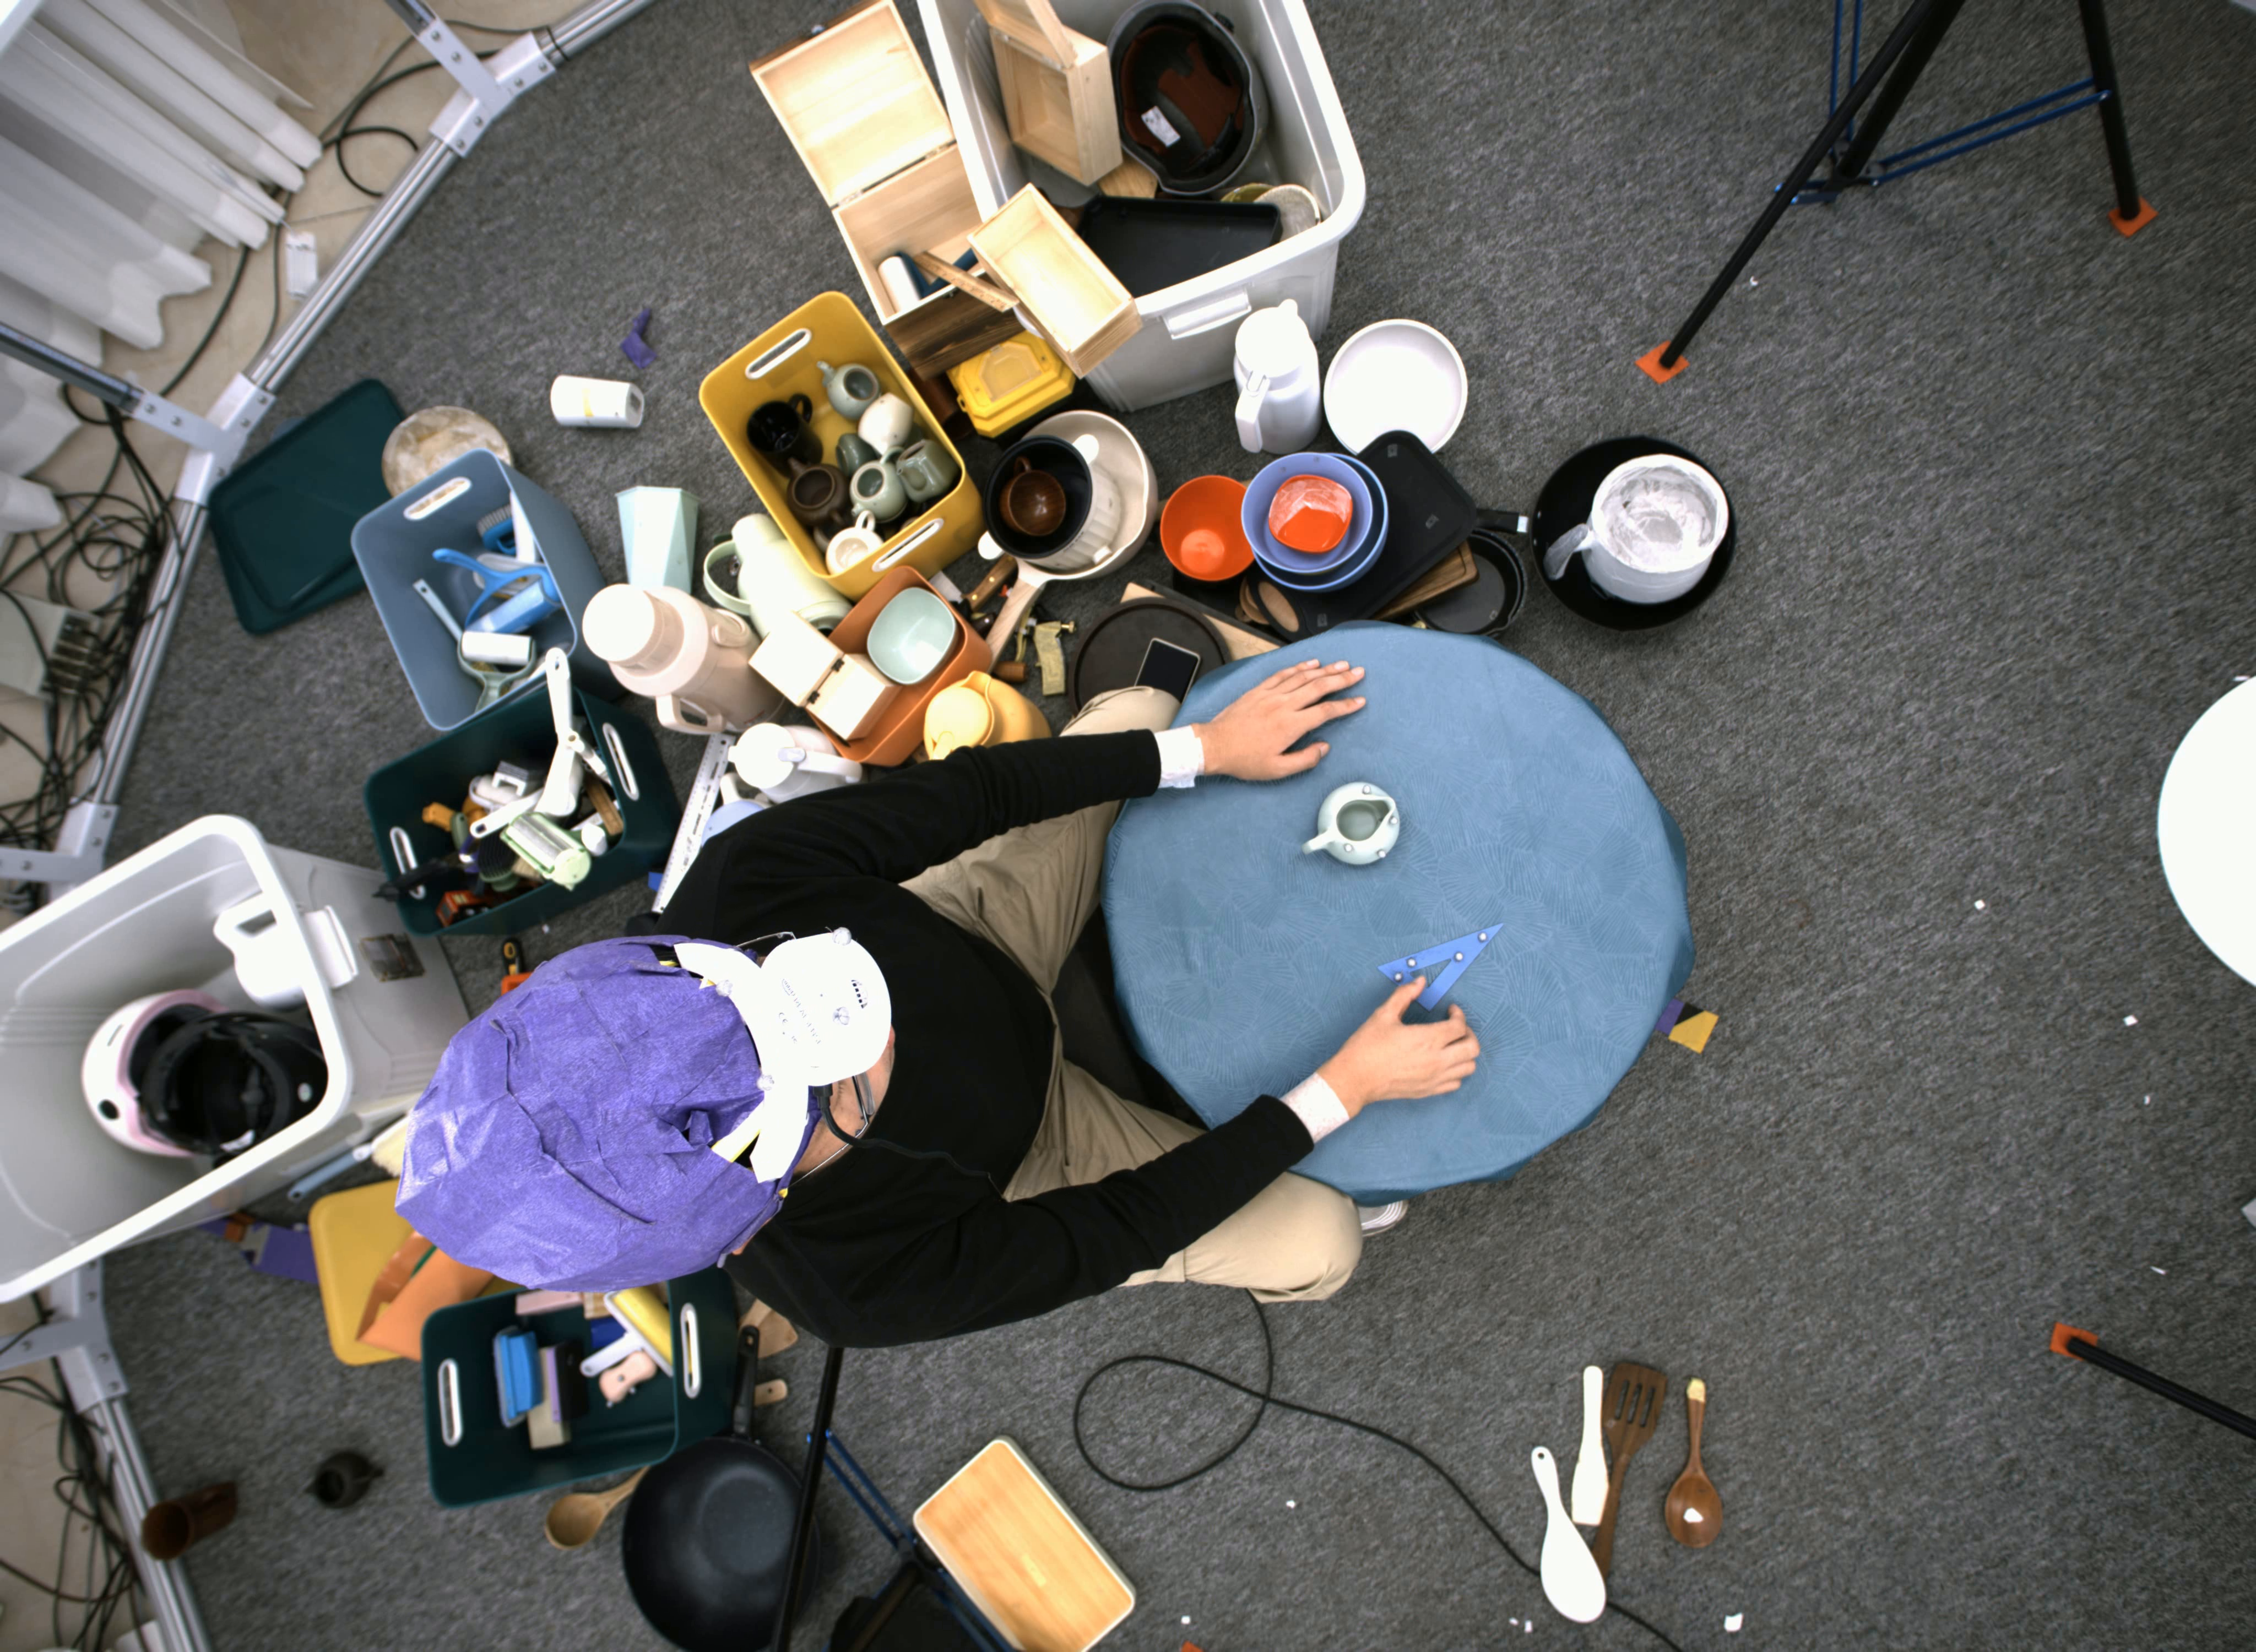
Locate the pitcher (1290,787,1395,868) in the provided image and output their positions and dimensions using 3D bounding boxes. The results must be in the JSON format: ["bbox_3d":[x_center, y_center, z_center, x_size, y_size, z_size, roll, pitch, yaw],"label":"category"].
[{"bbox_3d":[0.220,0.003,1.439,0.108,0.060,0.086,-12,94,-8],"label":"pitcher"}]

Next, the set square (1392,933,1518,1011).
[{"bbox_3d":[0.348,0.153,1.439,0.133,0.006,0.061,-17,83,9],"label":"set square"}]
